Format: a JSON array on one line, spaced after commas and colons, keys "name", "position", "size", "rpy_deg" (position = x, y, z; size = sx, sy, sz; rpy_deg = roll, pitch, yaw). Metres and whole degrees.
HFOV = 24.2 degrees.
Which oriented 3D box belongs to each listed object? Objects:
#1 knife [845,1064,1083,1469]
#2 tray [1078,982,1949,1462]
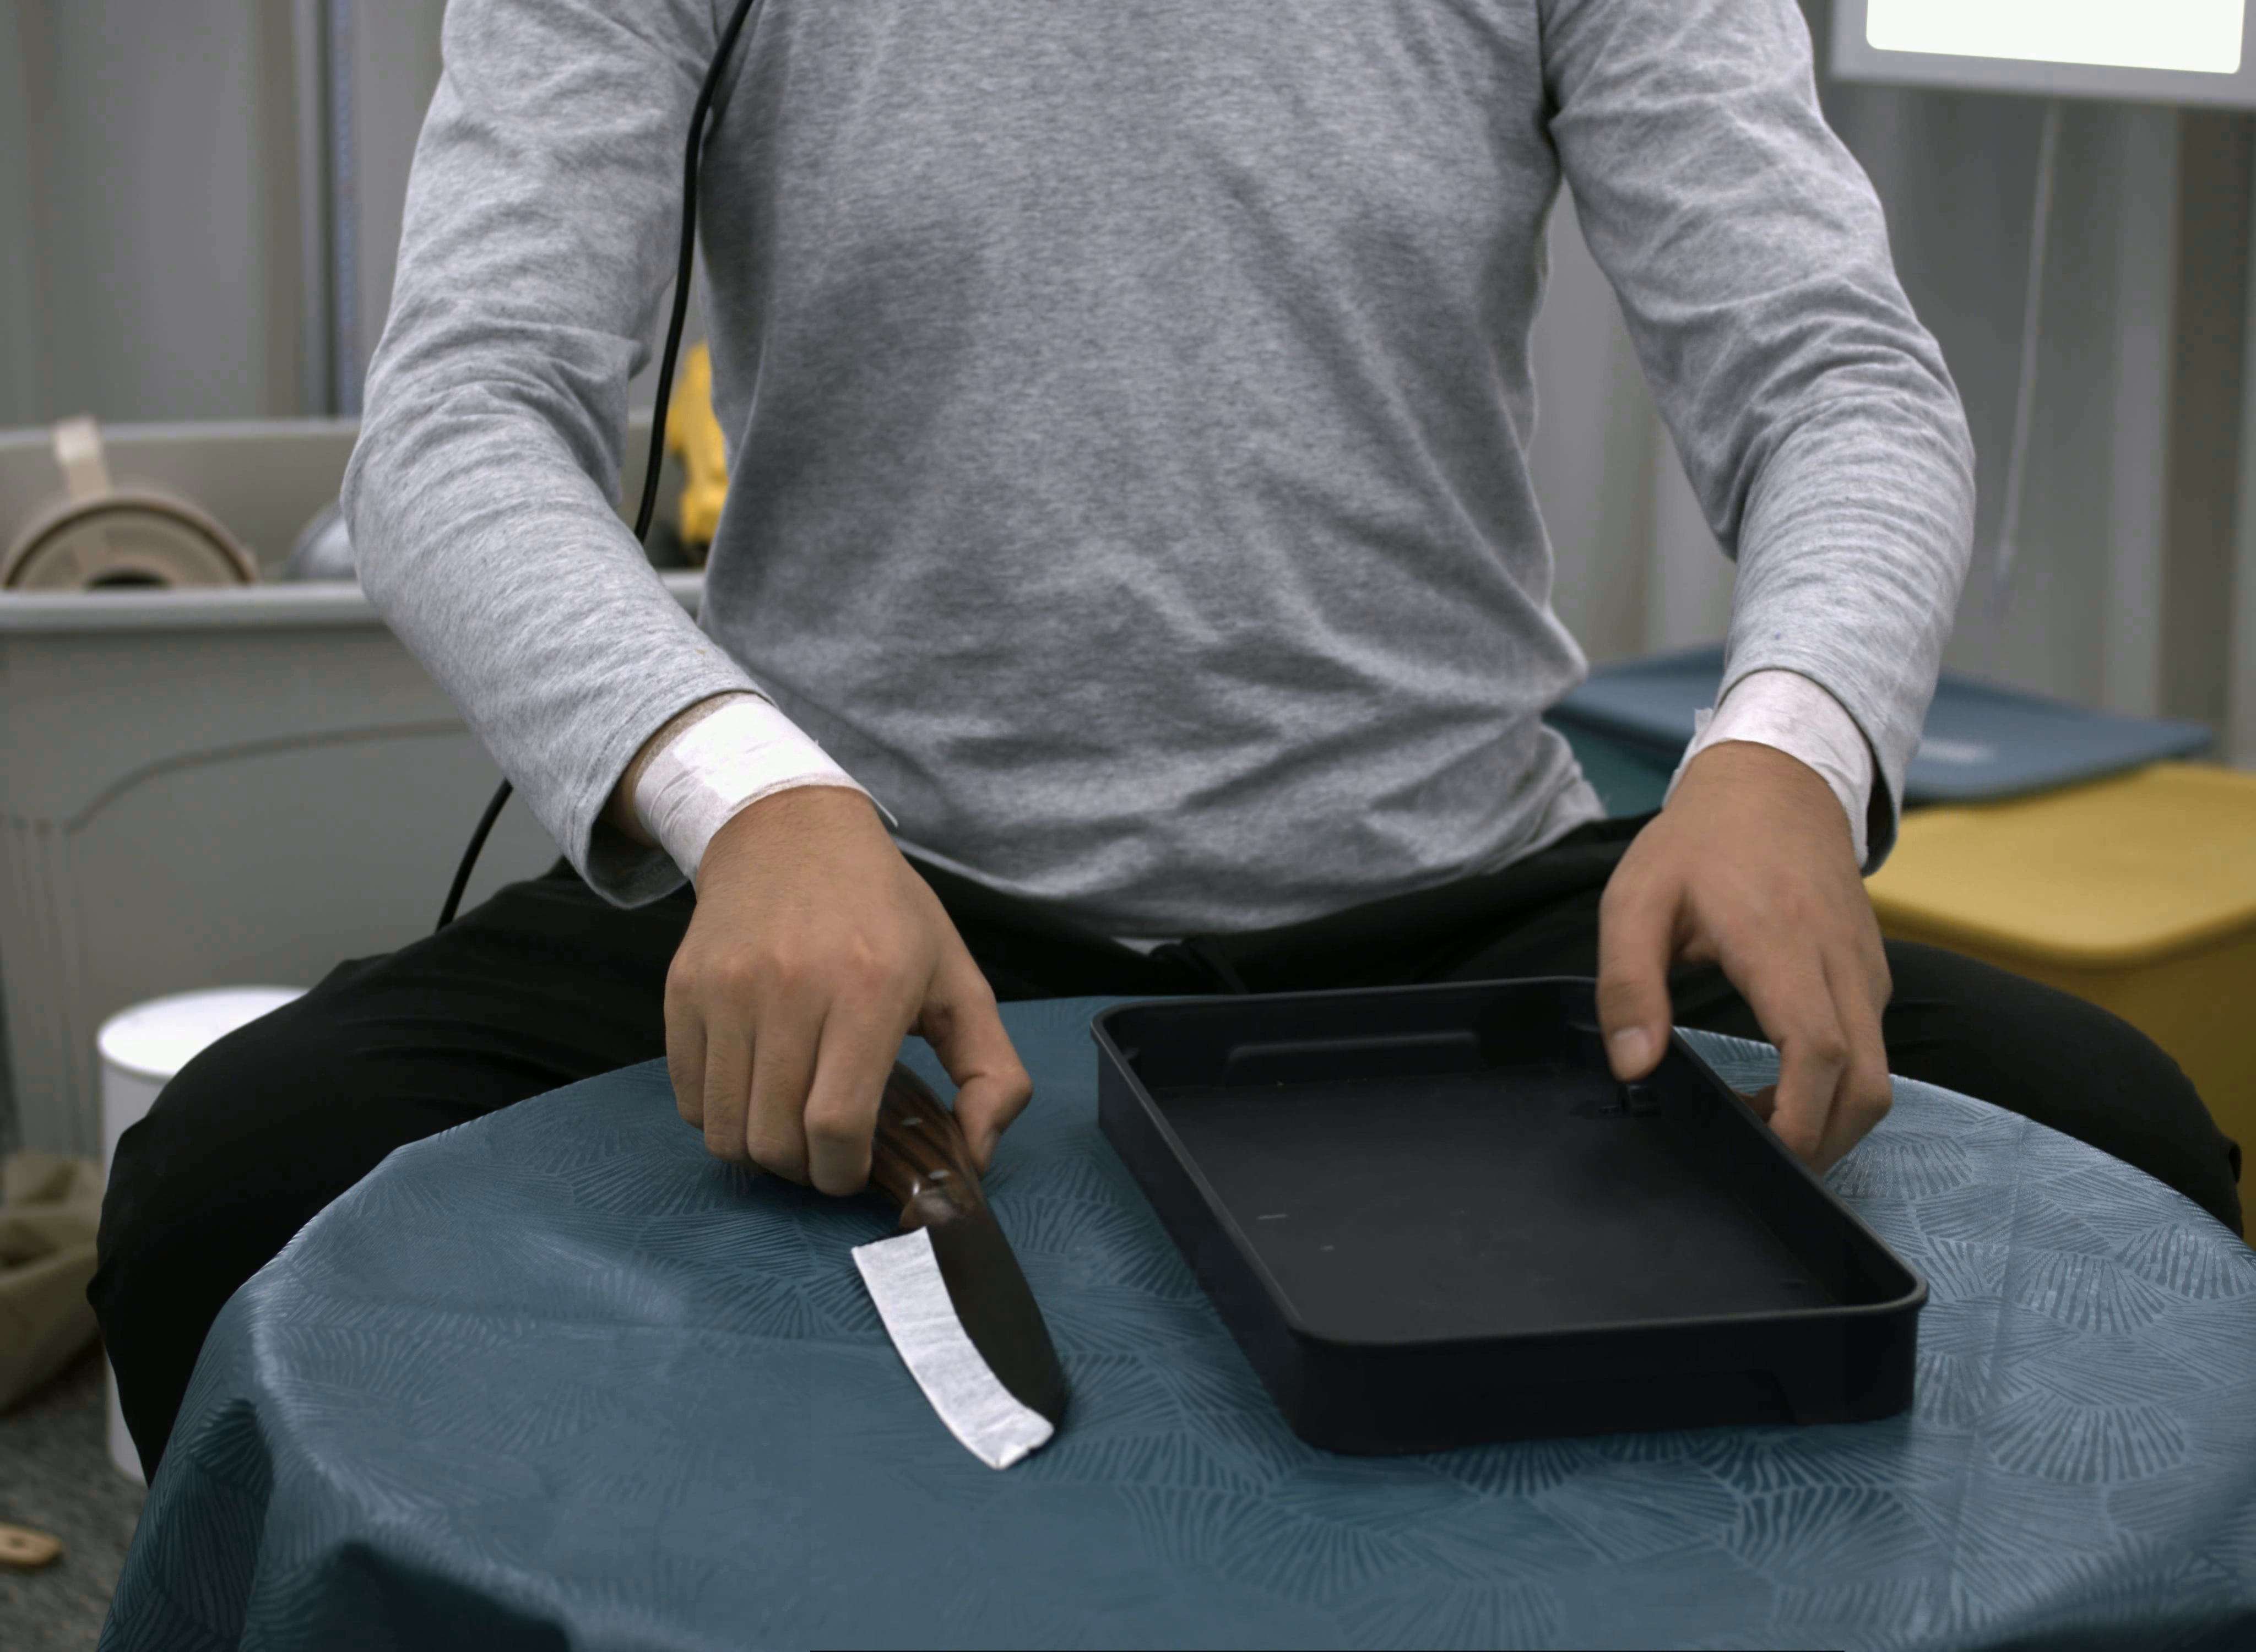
[{"name": "knife", "position": [-0.053, 0.127, 1.539], "size": [0.050, 0.020, 0.286], "rpy_deg": [-13, 20, -6]}, {"name": "tray", "position": [0.105, 0.111, 1.567], "size": [0.184, 0.037, 0.315], "rpy_deg": [-3, 15, -13]}]
